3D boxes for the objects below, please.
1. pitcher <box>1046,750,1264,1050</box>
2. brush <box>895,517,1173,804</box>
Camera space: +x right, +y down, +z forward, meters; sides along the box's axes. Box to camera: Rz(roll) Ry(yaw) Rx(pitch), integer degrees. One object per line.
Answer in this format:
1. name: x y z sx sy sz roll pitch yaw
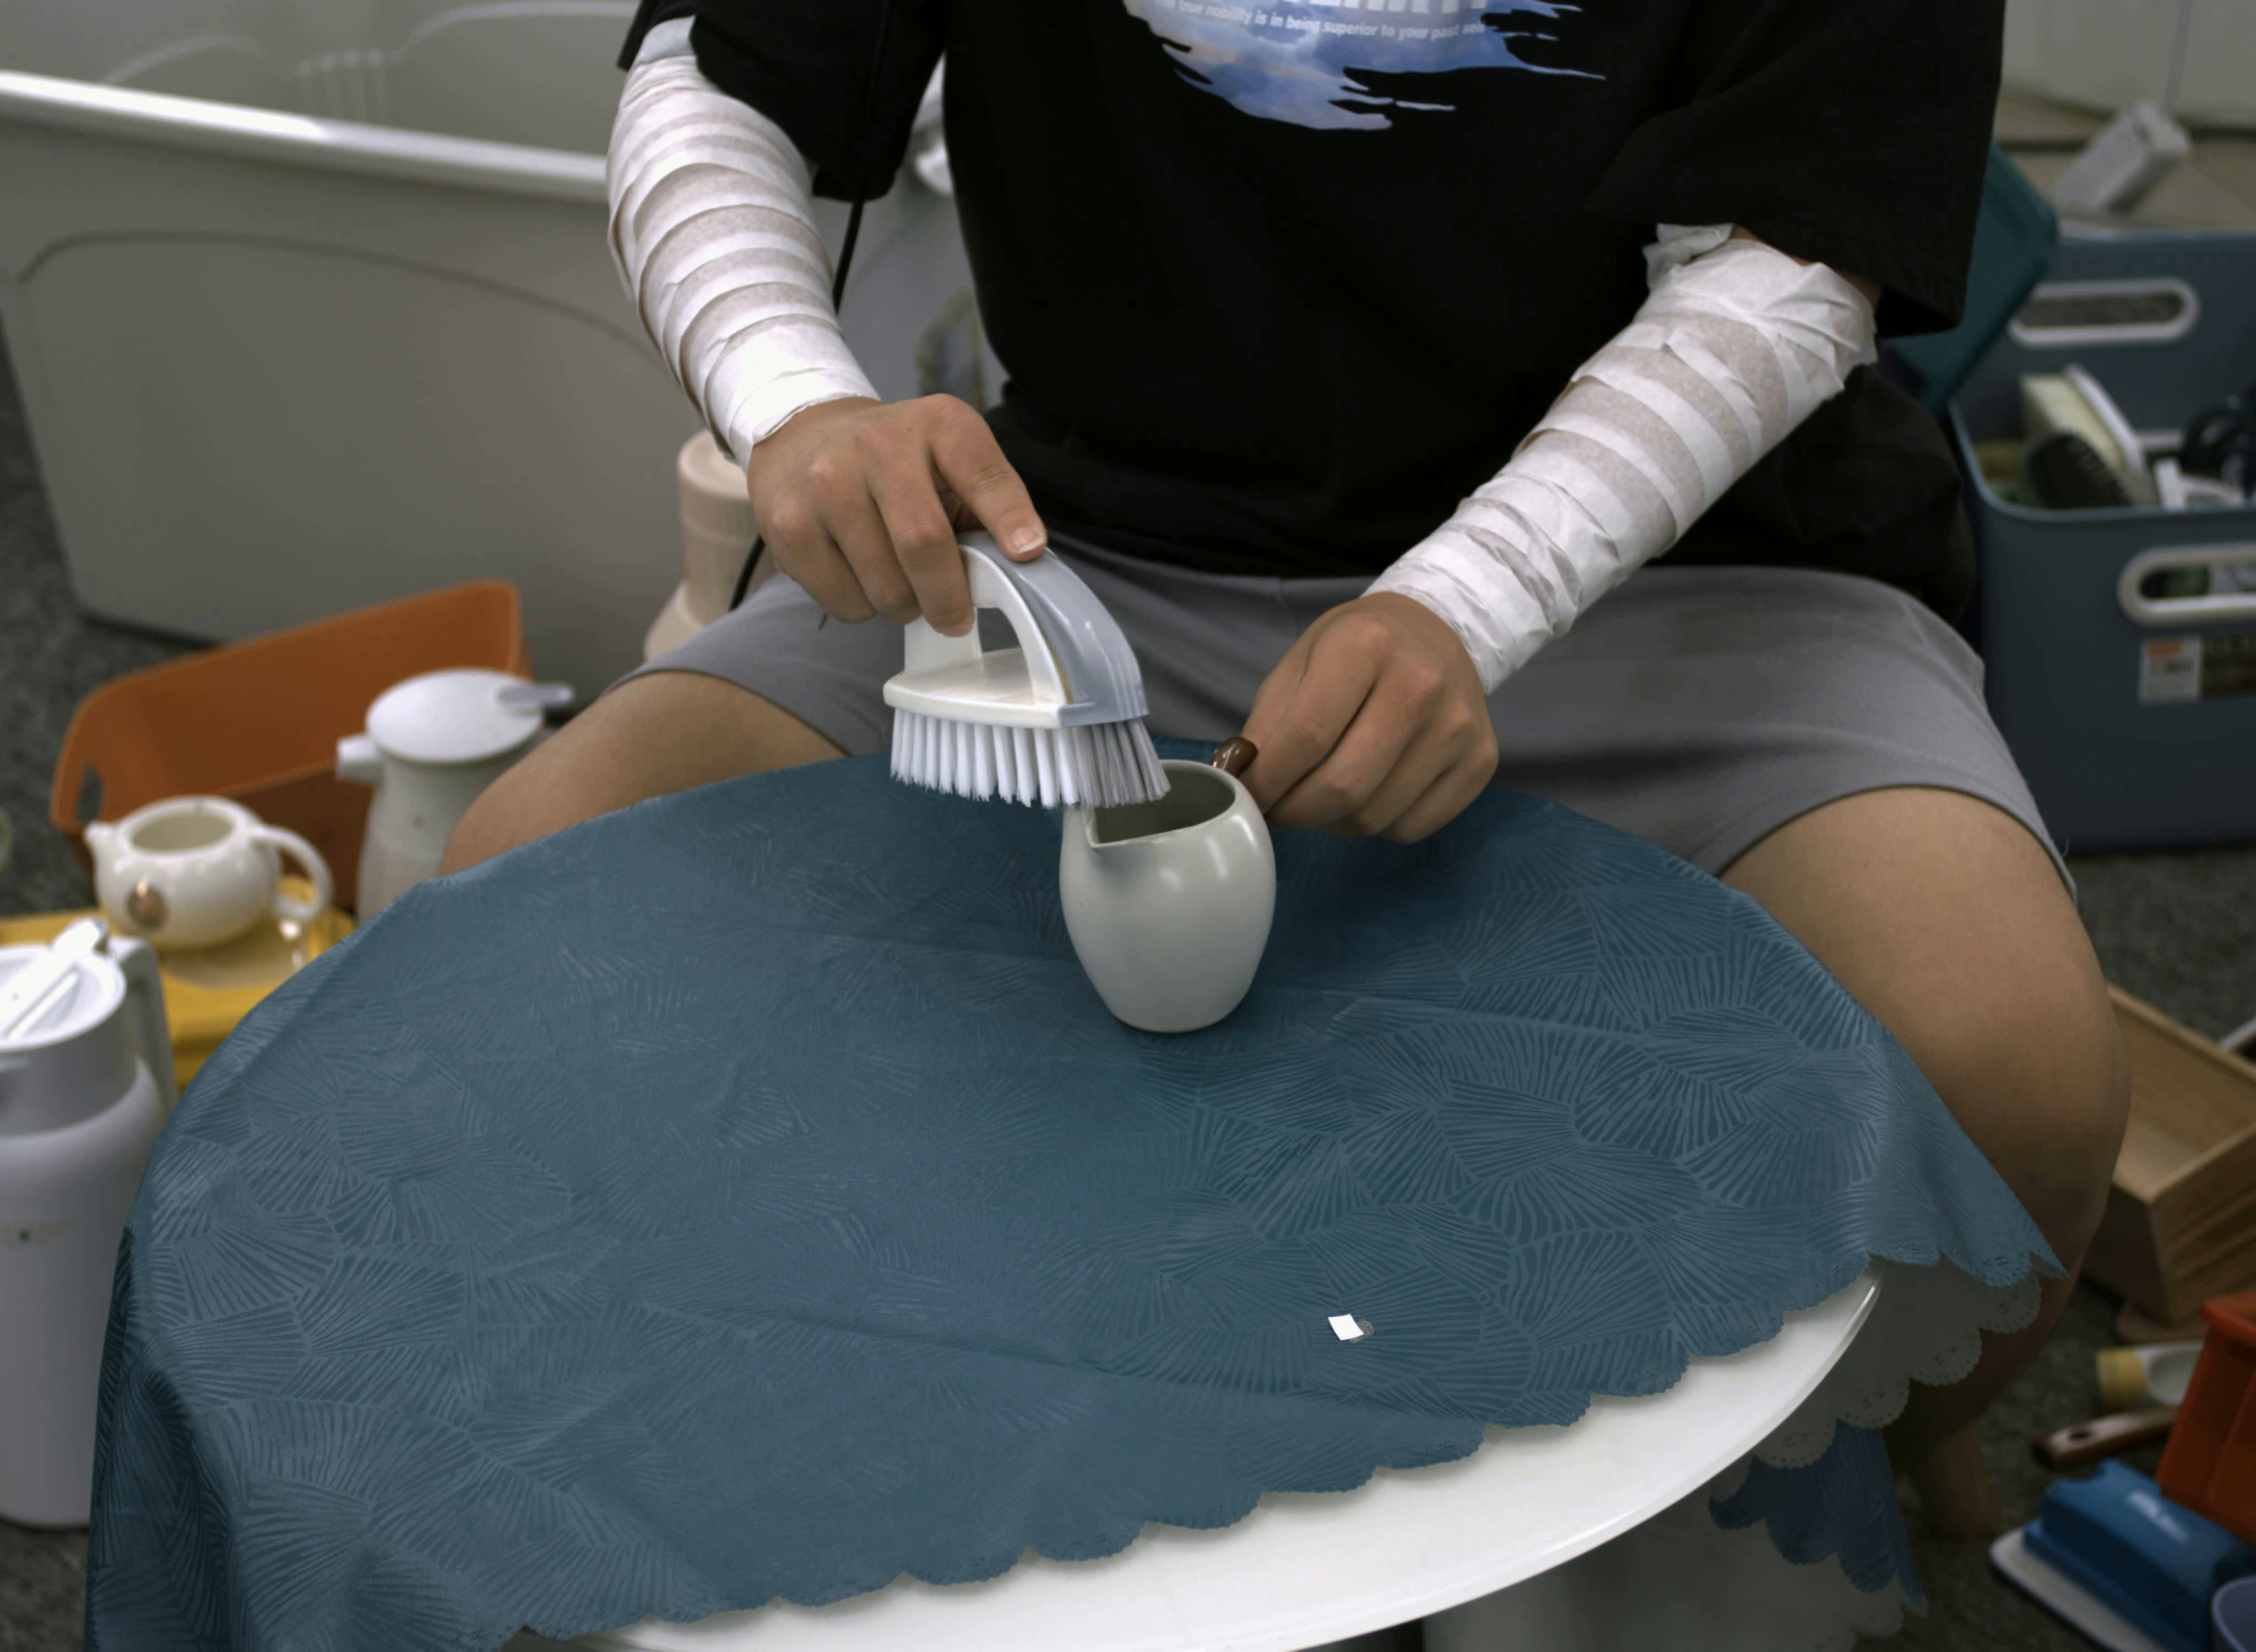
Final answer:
1. pitcher: 0.014 0.026 1.954 0.075 0.087 0.121 16 34 28
2. brush: -0.033 -0.060 1.967 0.062 0.094 0.175 -20 16 -20
